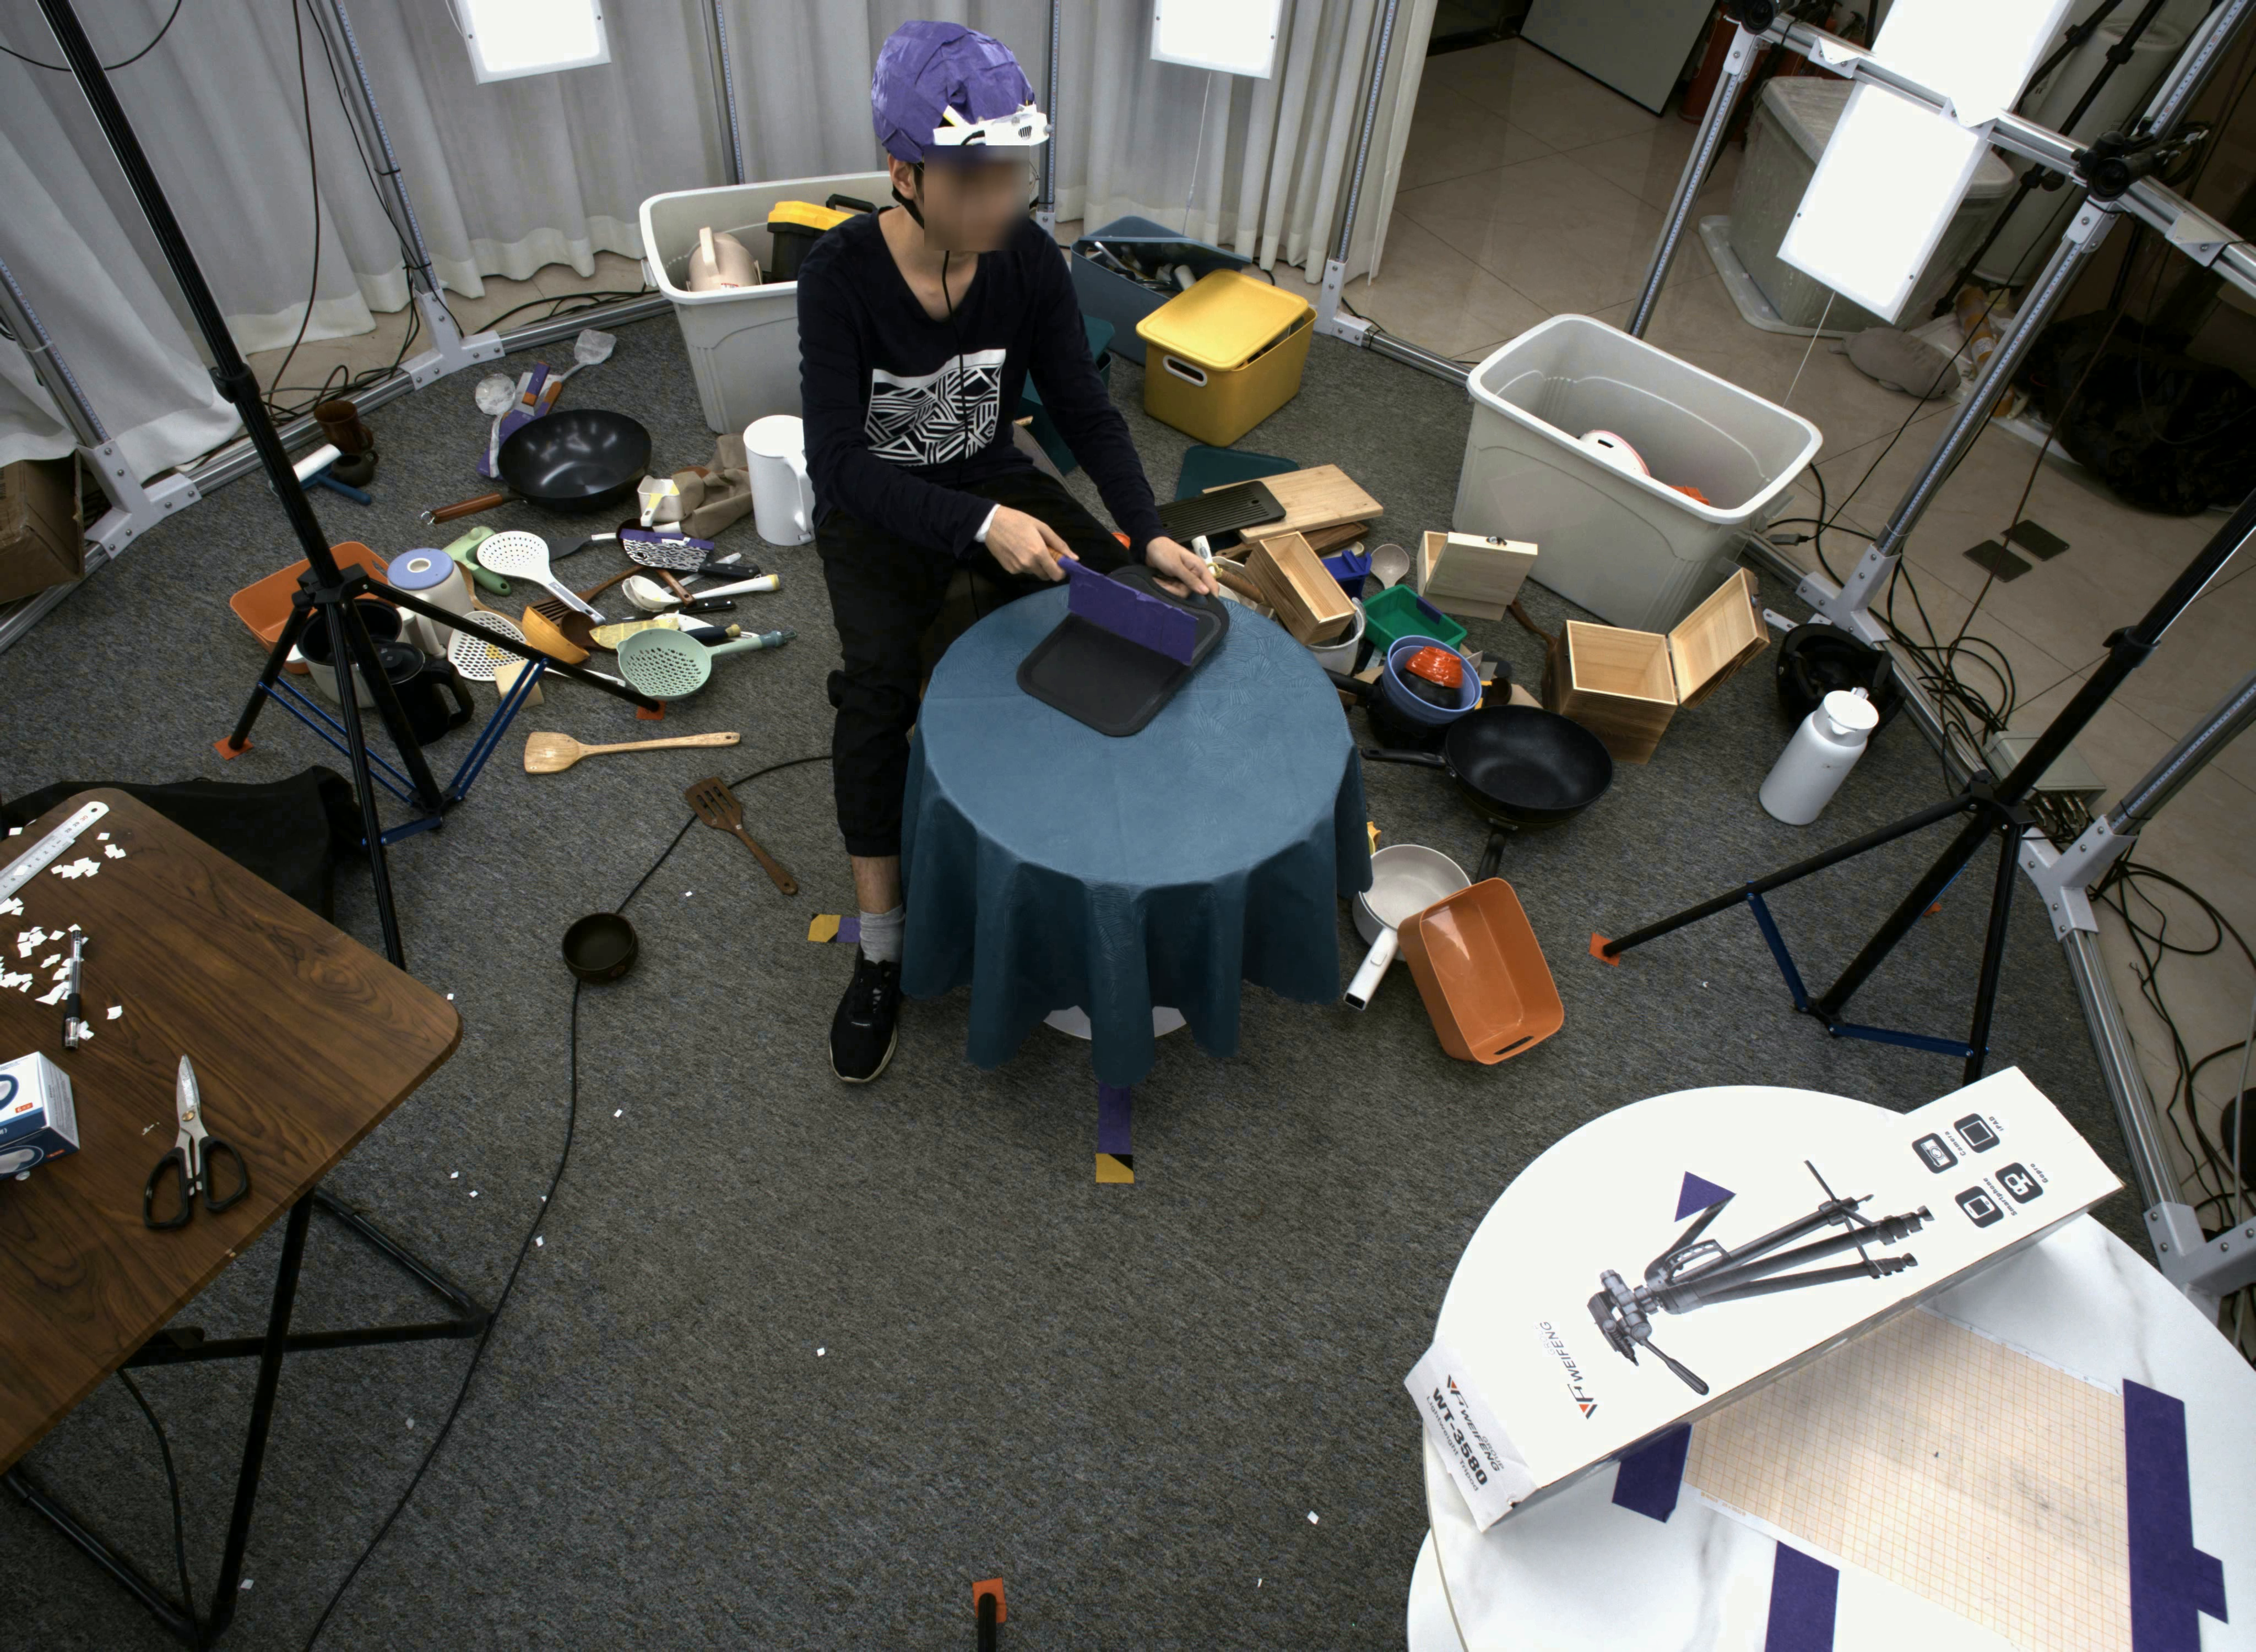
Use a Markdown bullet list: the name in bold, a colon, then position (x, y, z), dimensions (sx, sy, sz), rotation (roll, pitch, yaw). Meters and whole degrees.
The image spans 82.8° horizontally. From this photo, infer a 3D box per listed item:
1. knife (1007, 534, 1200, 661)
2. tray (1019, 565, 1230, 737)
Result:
- **knife**: position (-0.040, -0.325, 1.861), dimensions (0.318, 0.101, 0.032), rotation (28, 49, 17)
- **tray**: position (0.002, -0.269, 1.880), dimensions (0.213, 0.009, 0.330), rotation (30, 58, 19)
